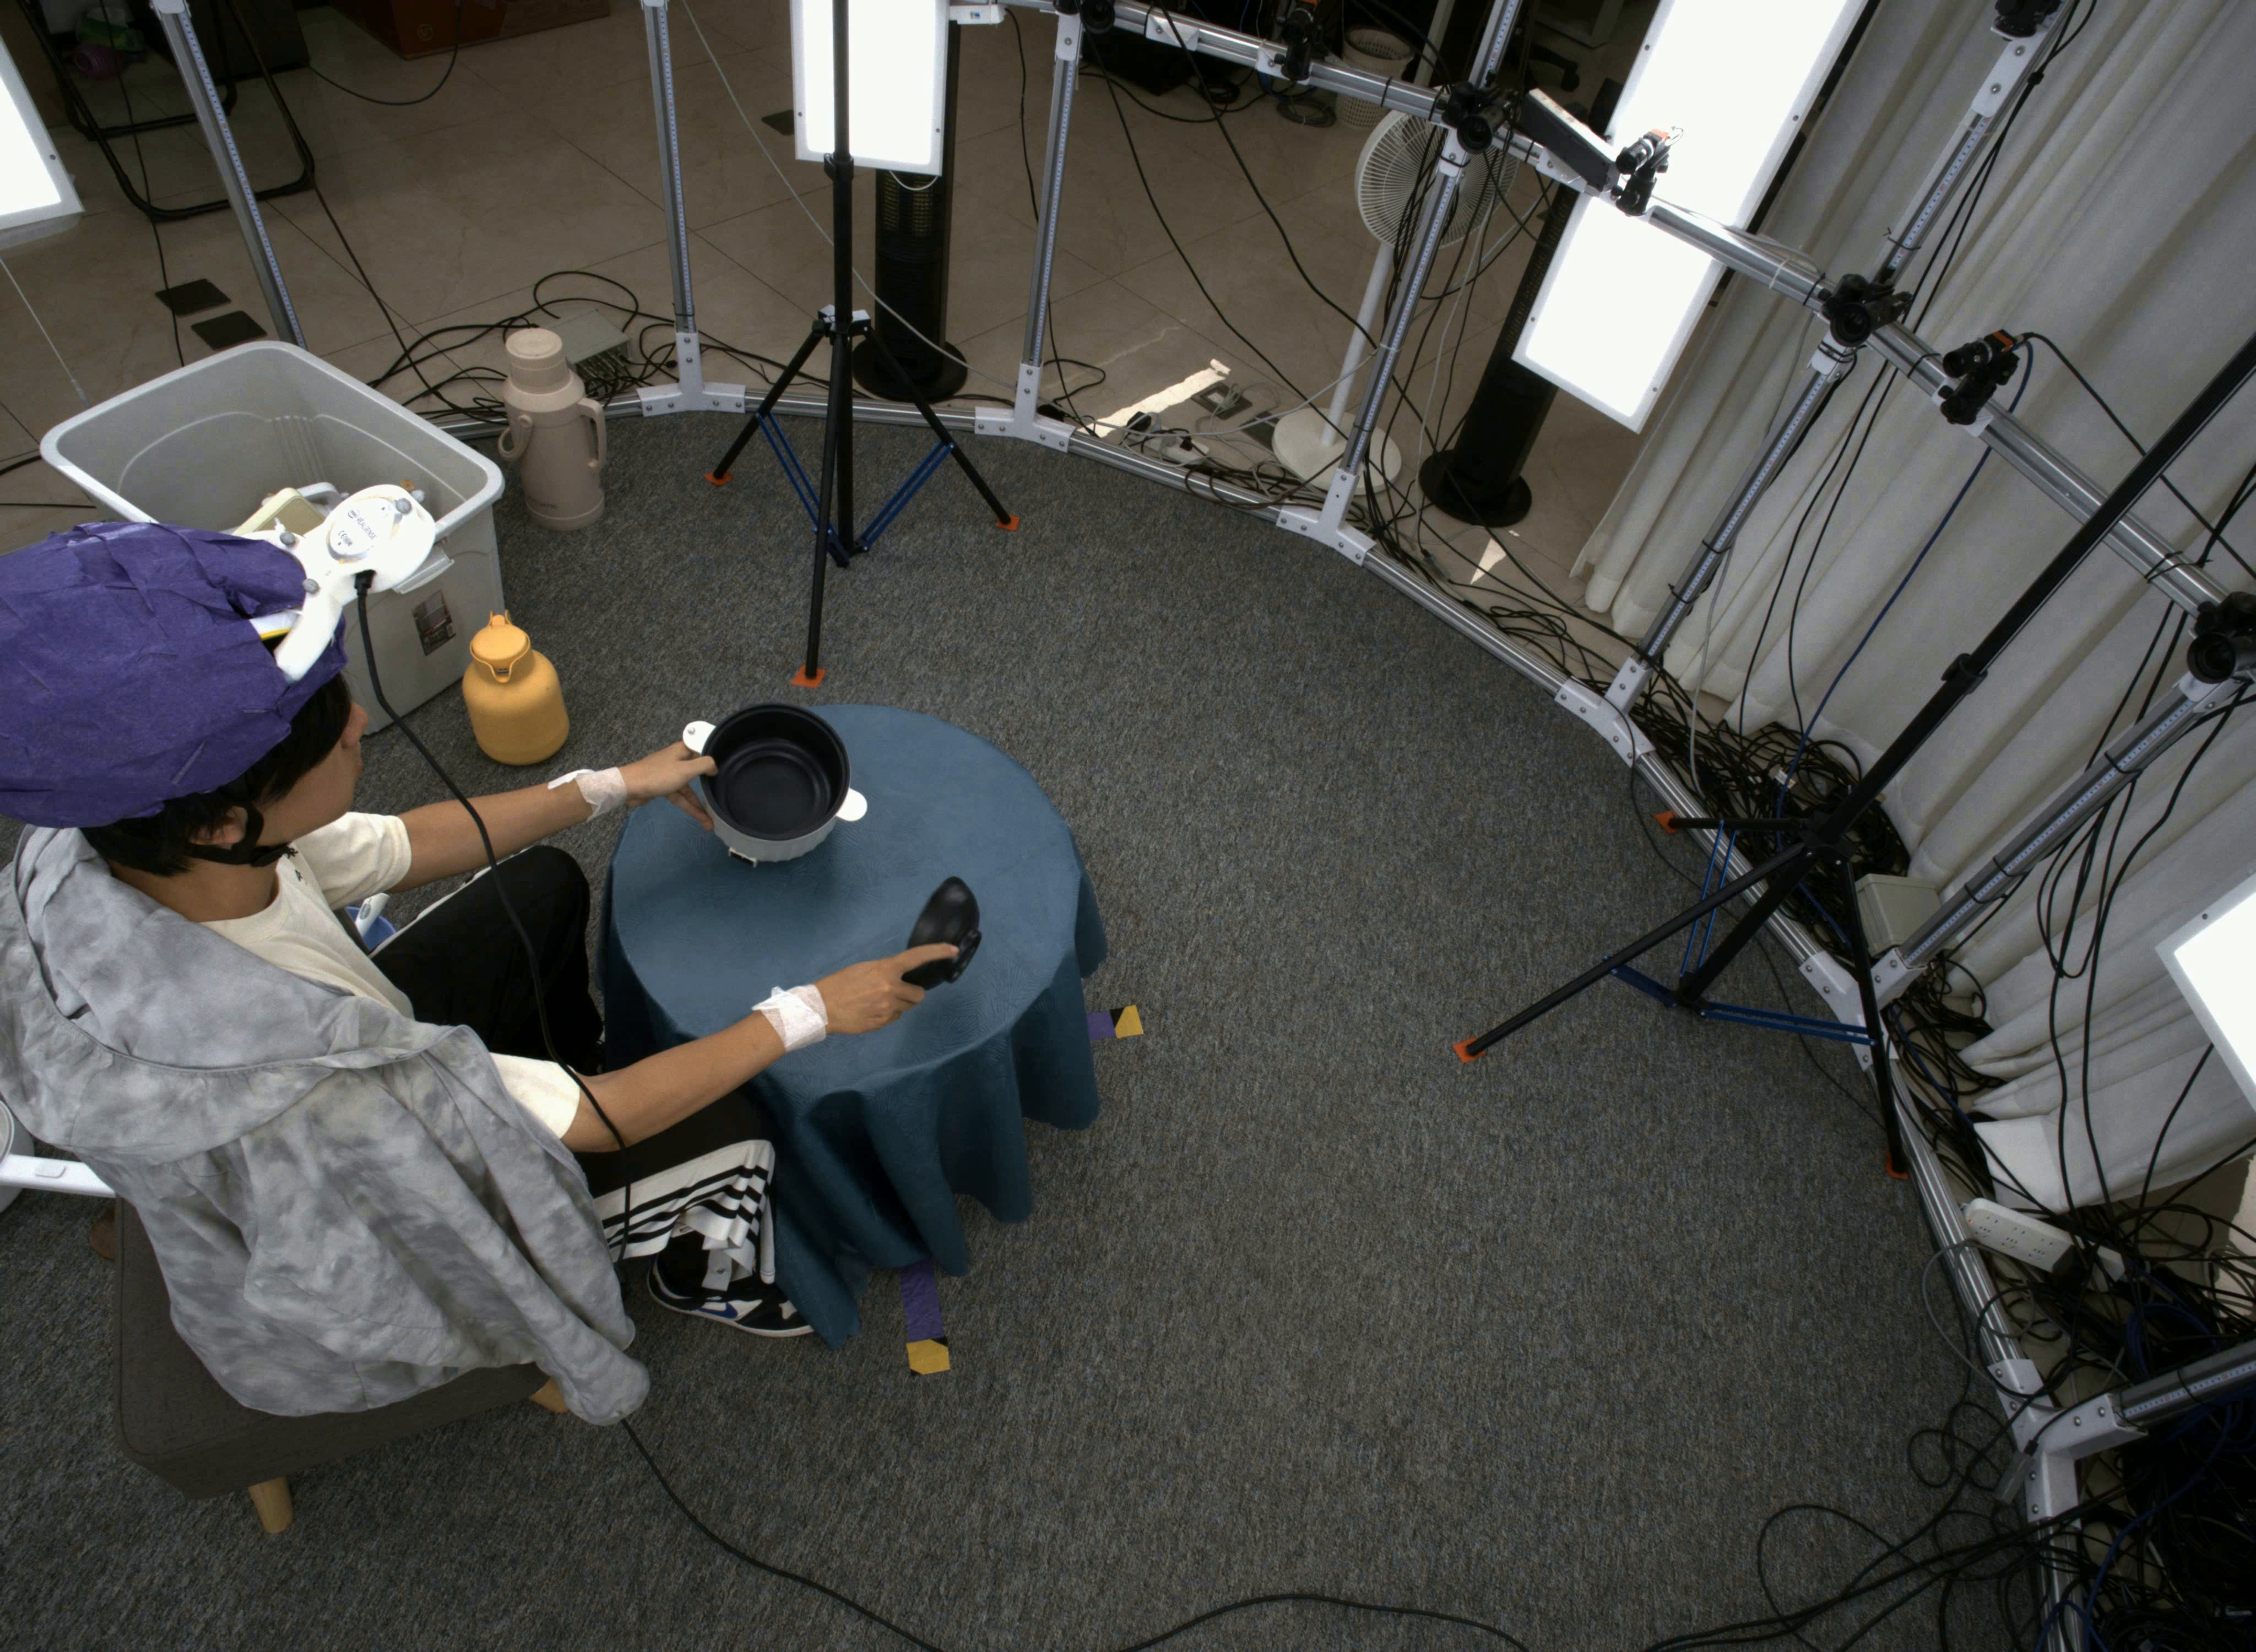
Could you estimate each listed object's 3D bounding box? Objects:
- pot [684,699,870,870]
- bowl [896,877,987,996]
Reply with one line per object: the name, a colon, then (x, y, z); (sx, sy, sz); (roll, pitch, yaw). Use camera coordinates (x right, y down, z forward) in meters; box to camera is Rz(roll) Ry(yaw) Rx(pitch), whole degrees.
pot: (-0.442, -0.054, 1.637); (0.242, 0.142, 0.190); (25, 70, -11)
bowl: (-0.206, 0.135, 1.503); (0.066, 0.140, 0.170); (26, 25, 8)
